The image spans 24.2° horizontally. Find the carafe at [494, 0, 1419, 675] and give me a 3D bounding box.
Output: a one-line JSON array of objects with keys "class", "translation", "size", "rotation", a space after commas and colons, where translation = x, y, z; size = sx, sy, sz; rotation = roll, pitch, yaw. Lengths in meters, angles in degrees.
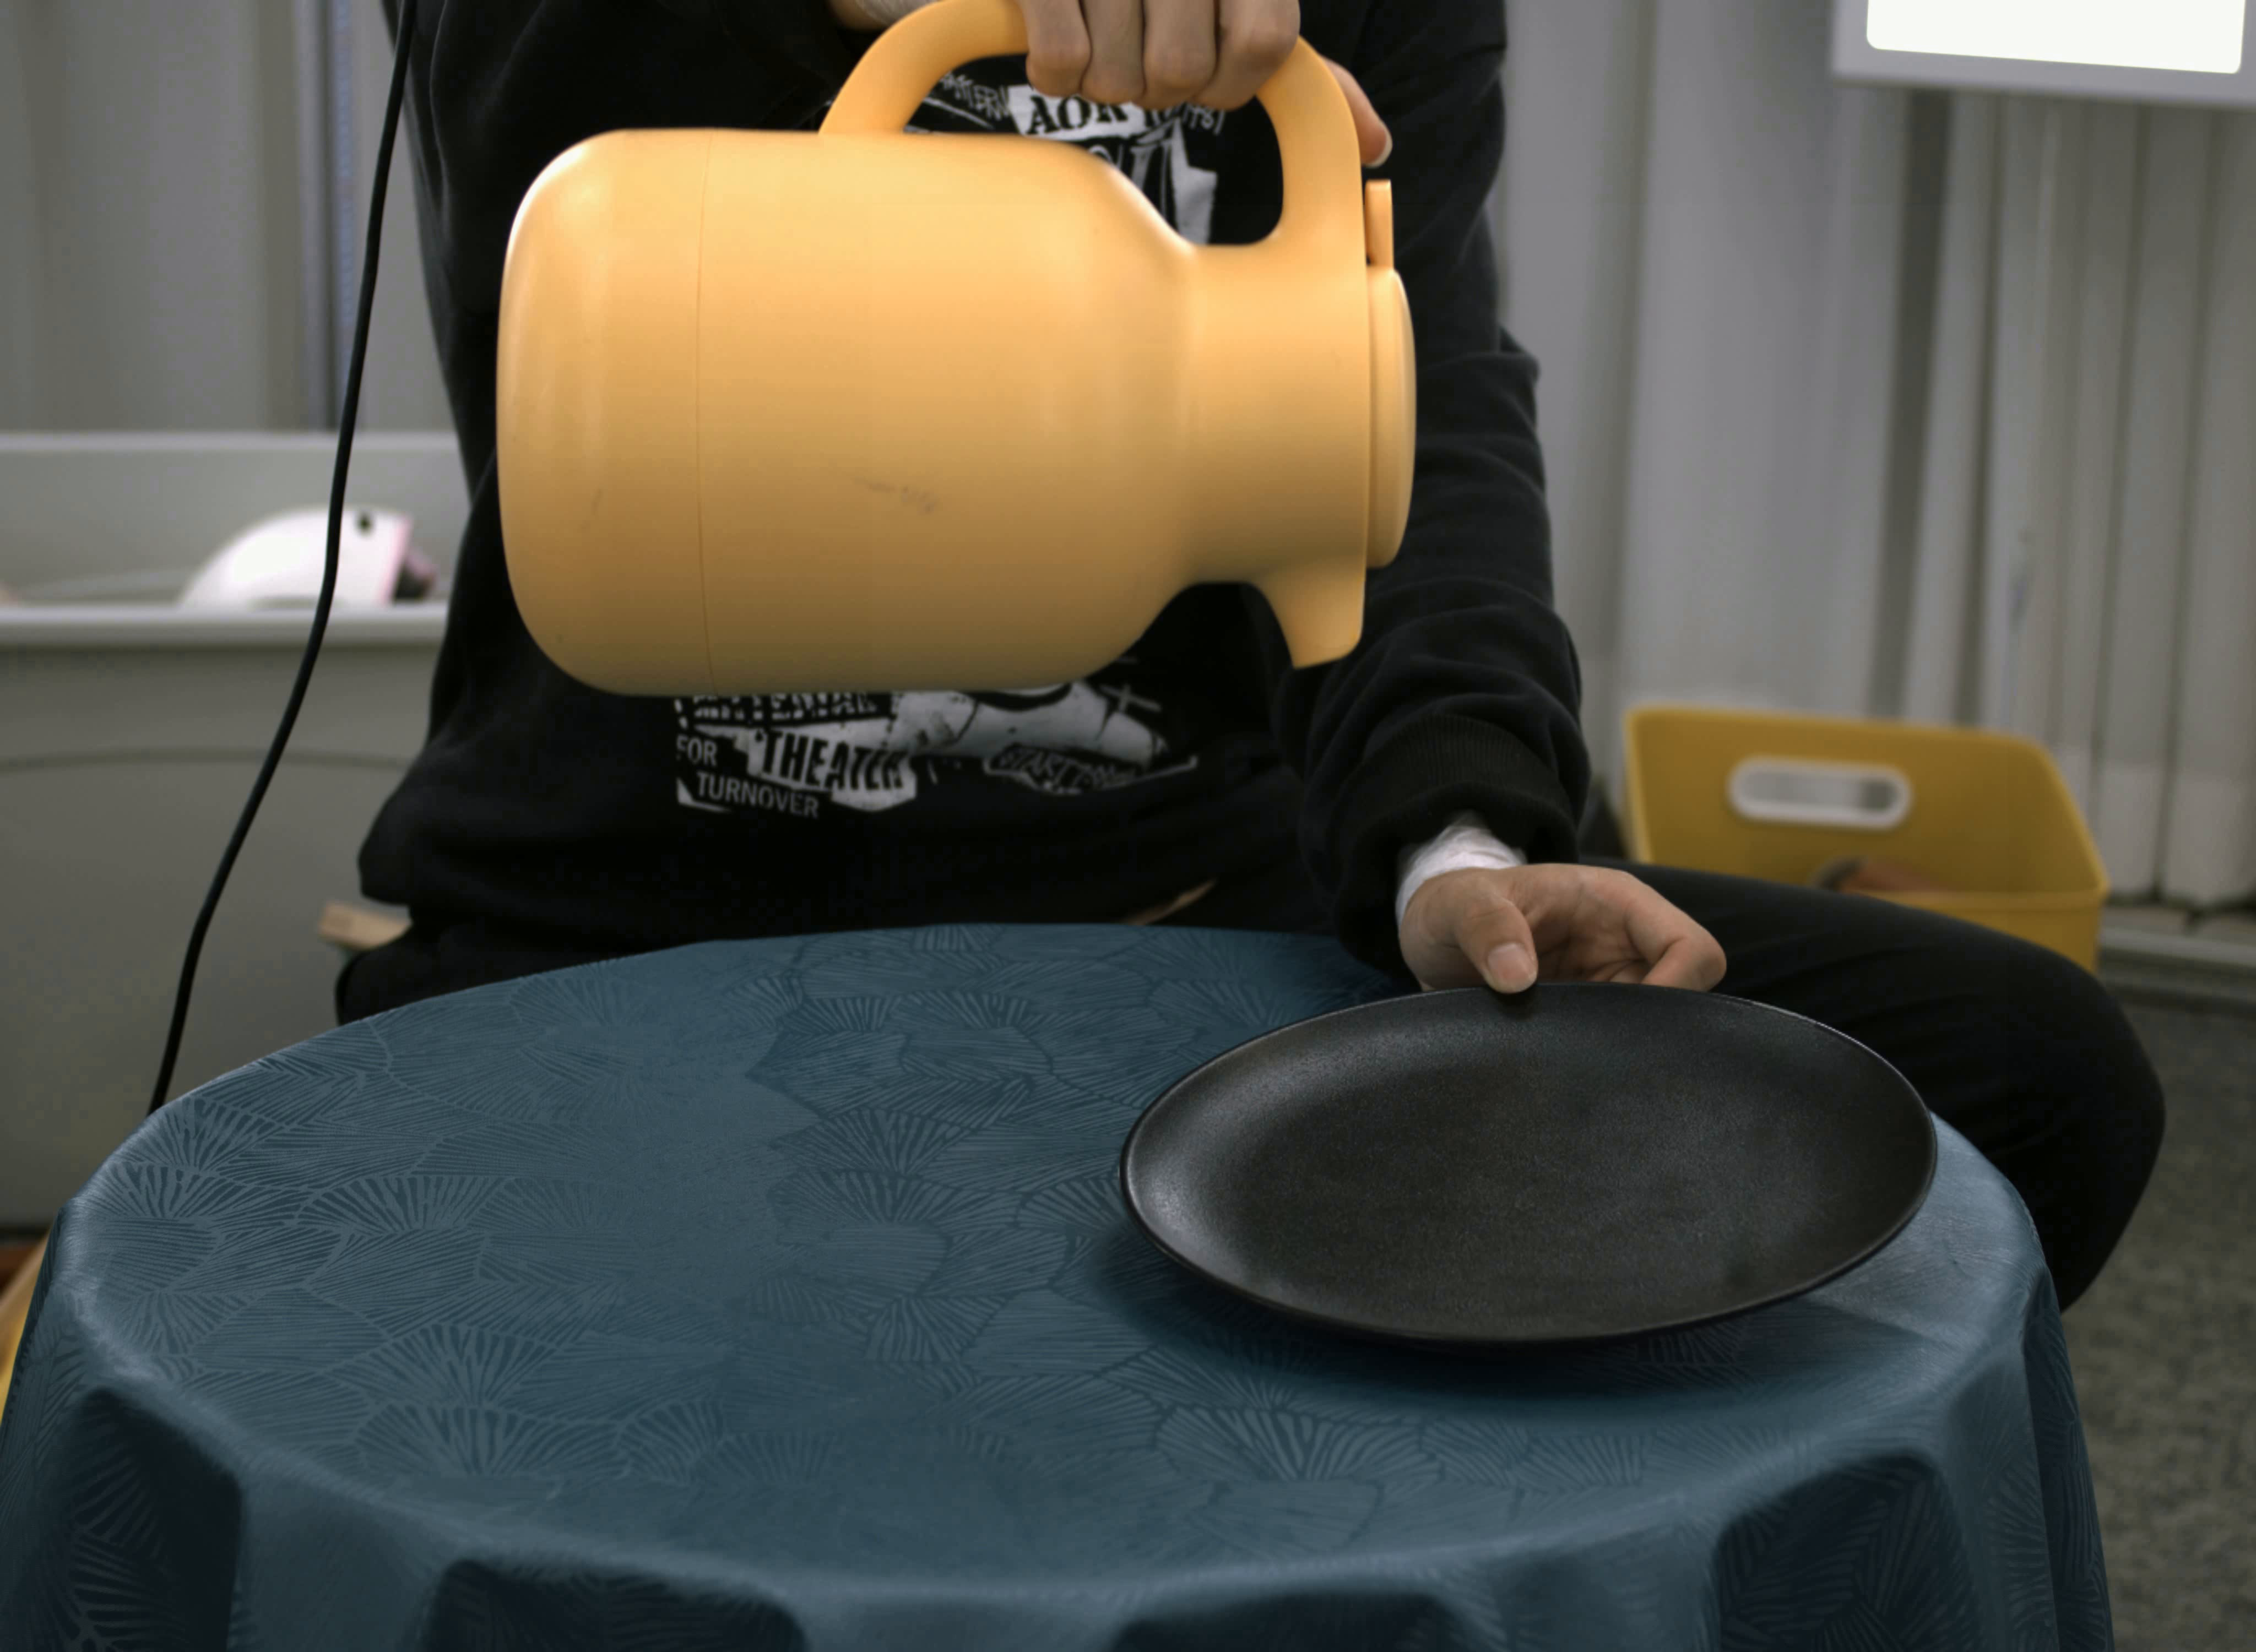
[{"class": "carafe", "translation": [-0.046, -0.144, 1.508], "size": [0.260, 0.203, 0.163], "rotation": [2, 0, -2]}]

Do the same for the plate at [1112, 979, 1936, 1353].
[{"class": "plate", "translation": [0.118, 0.105, 1.566], "size": [0.243, 0.023, 0.242], "rotation": [-2, 22, 2]}]
